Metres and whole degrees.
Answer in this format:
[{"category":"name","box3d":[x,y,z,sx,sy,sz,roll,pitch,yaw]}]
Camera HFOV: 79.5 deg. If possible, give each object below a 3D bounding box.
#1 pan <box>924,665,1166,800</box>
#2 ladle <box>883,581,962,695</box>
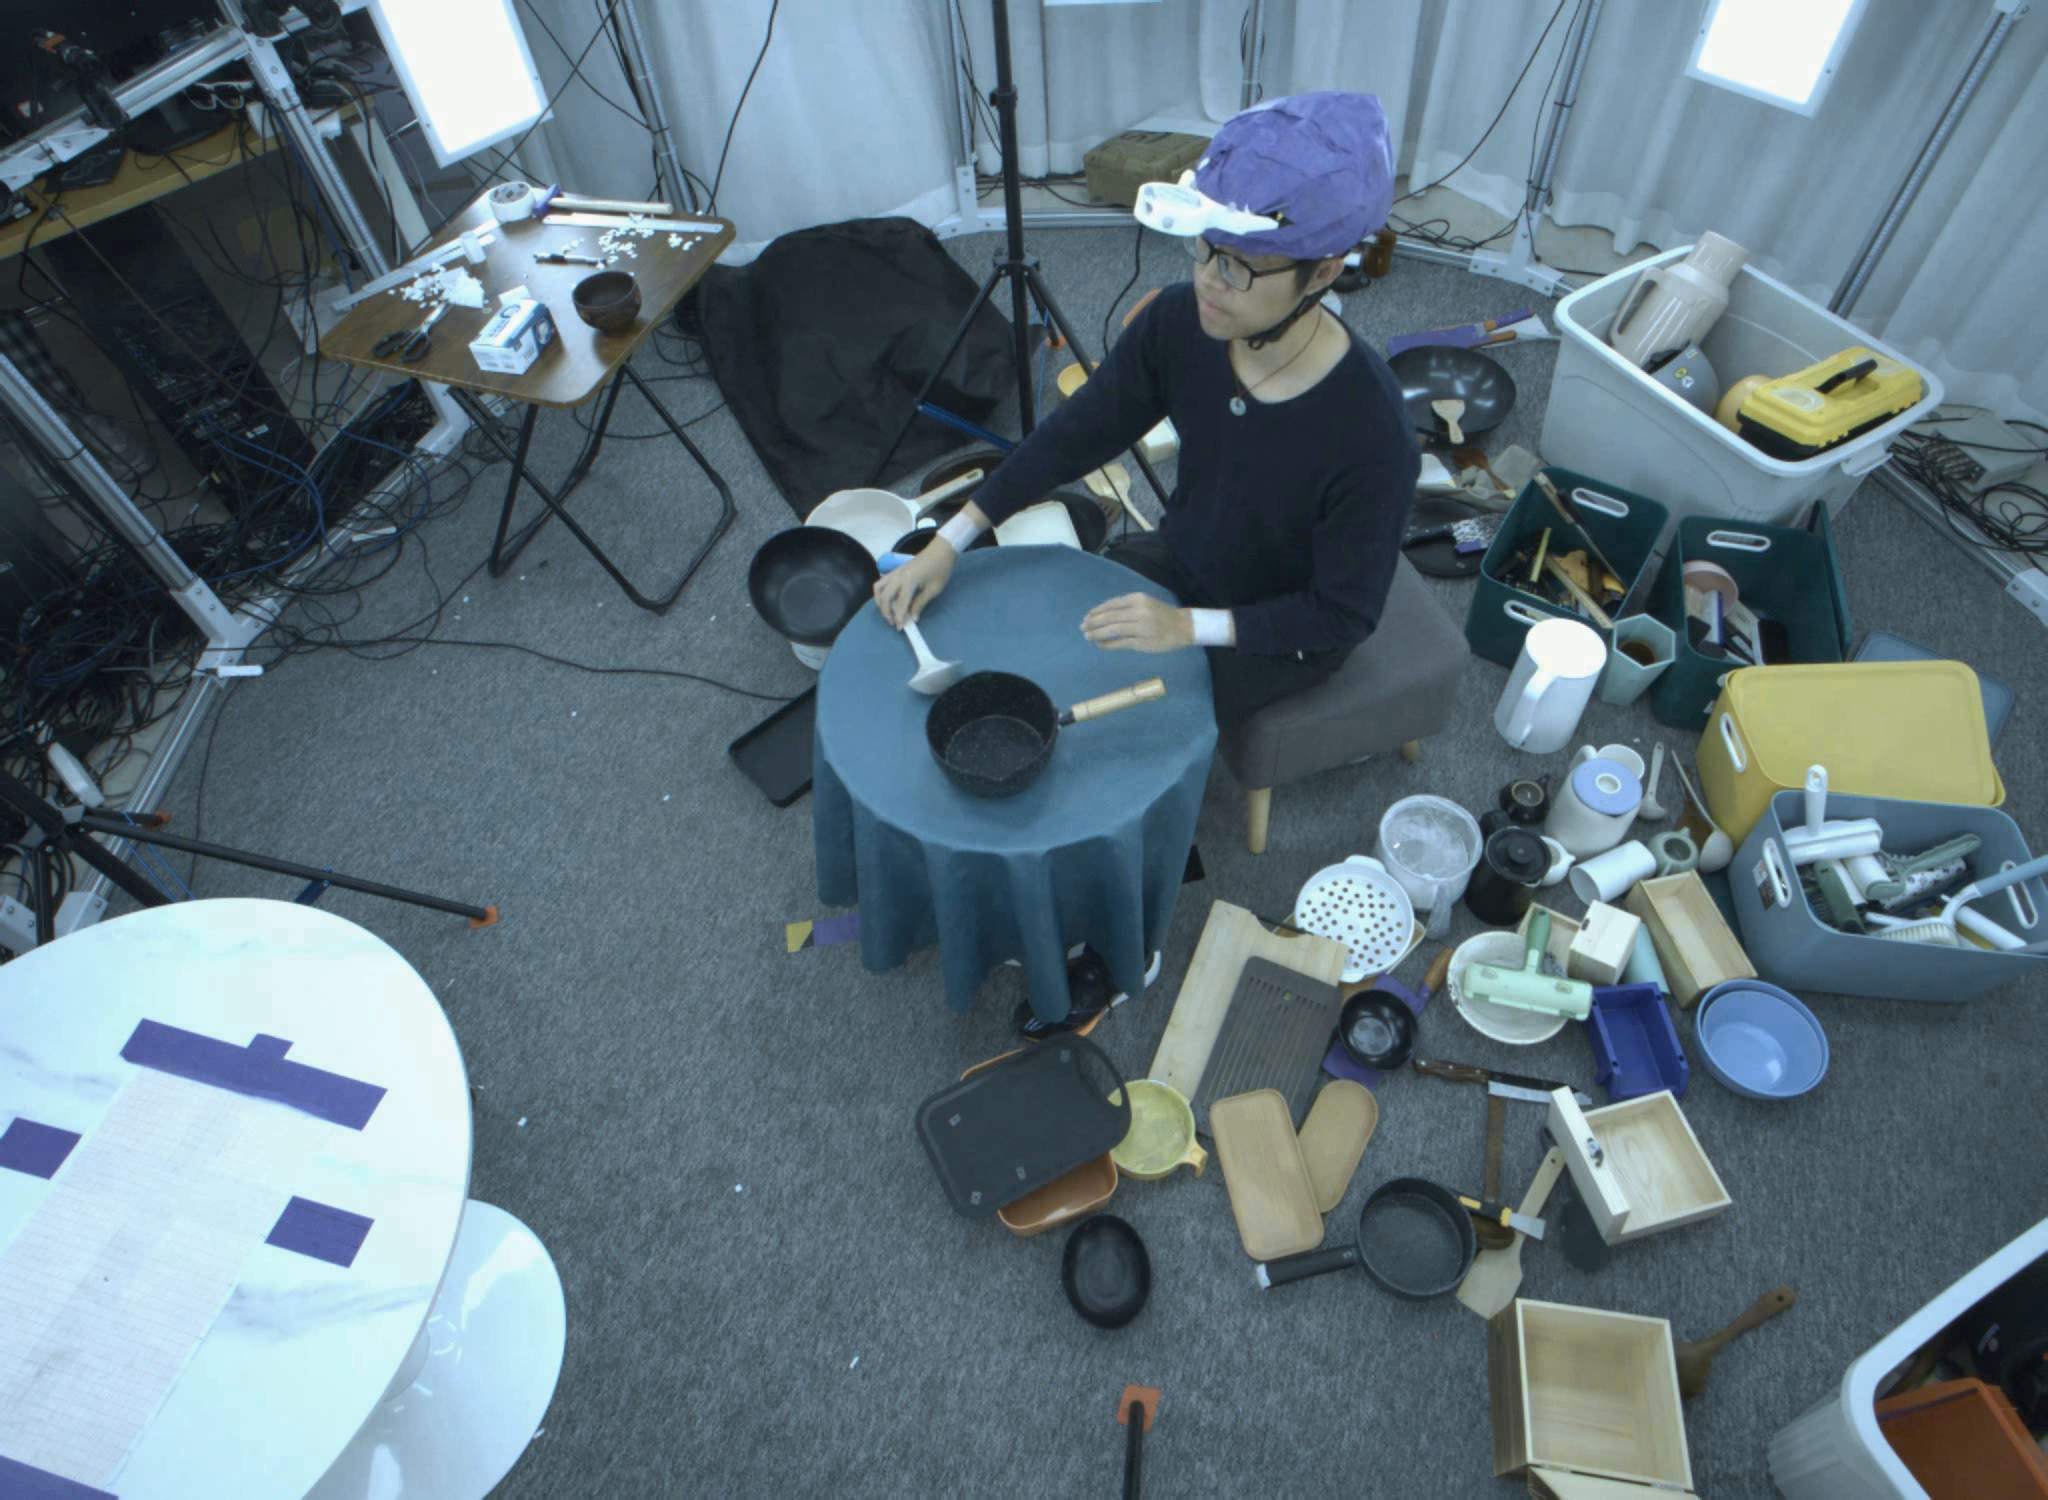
[{"category":"pan","box3d":[0.032,-0.037,1.745,0.344,0.109,0.204,-11,54,-4]},{"category":"ladle","box3d":[-0.176,-0.192,1.889,0.089,0.070,0.270,-26,57,-4]}]
